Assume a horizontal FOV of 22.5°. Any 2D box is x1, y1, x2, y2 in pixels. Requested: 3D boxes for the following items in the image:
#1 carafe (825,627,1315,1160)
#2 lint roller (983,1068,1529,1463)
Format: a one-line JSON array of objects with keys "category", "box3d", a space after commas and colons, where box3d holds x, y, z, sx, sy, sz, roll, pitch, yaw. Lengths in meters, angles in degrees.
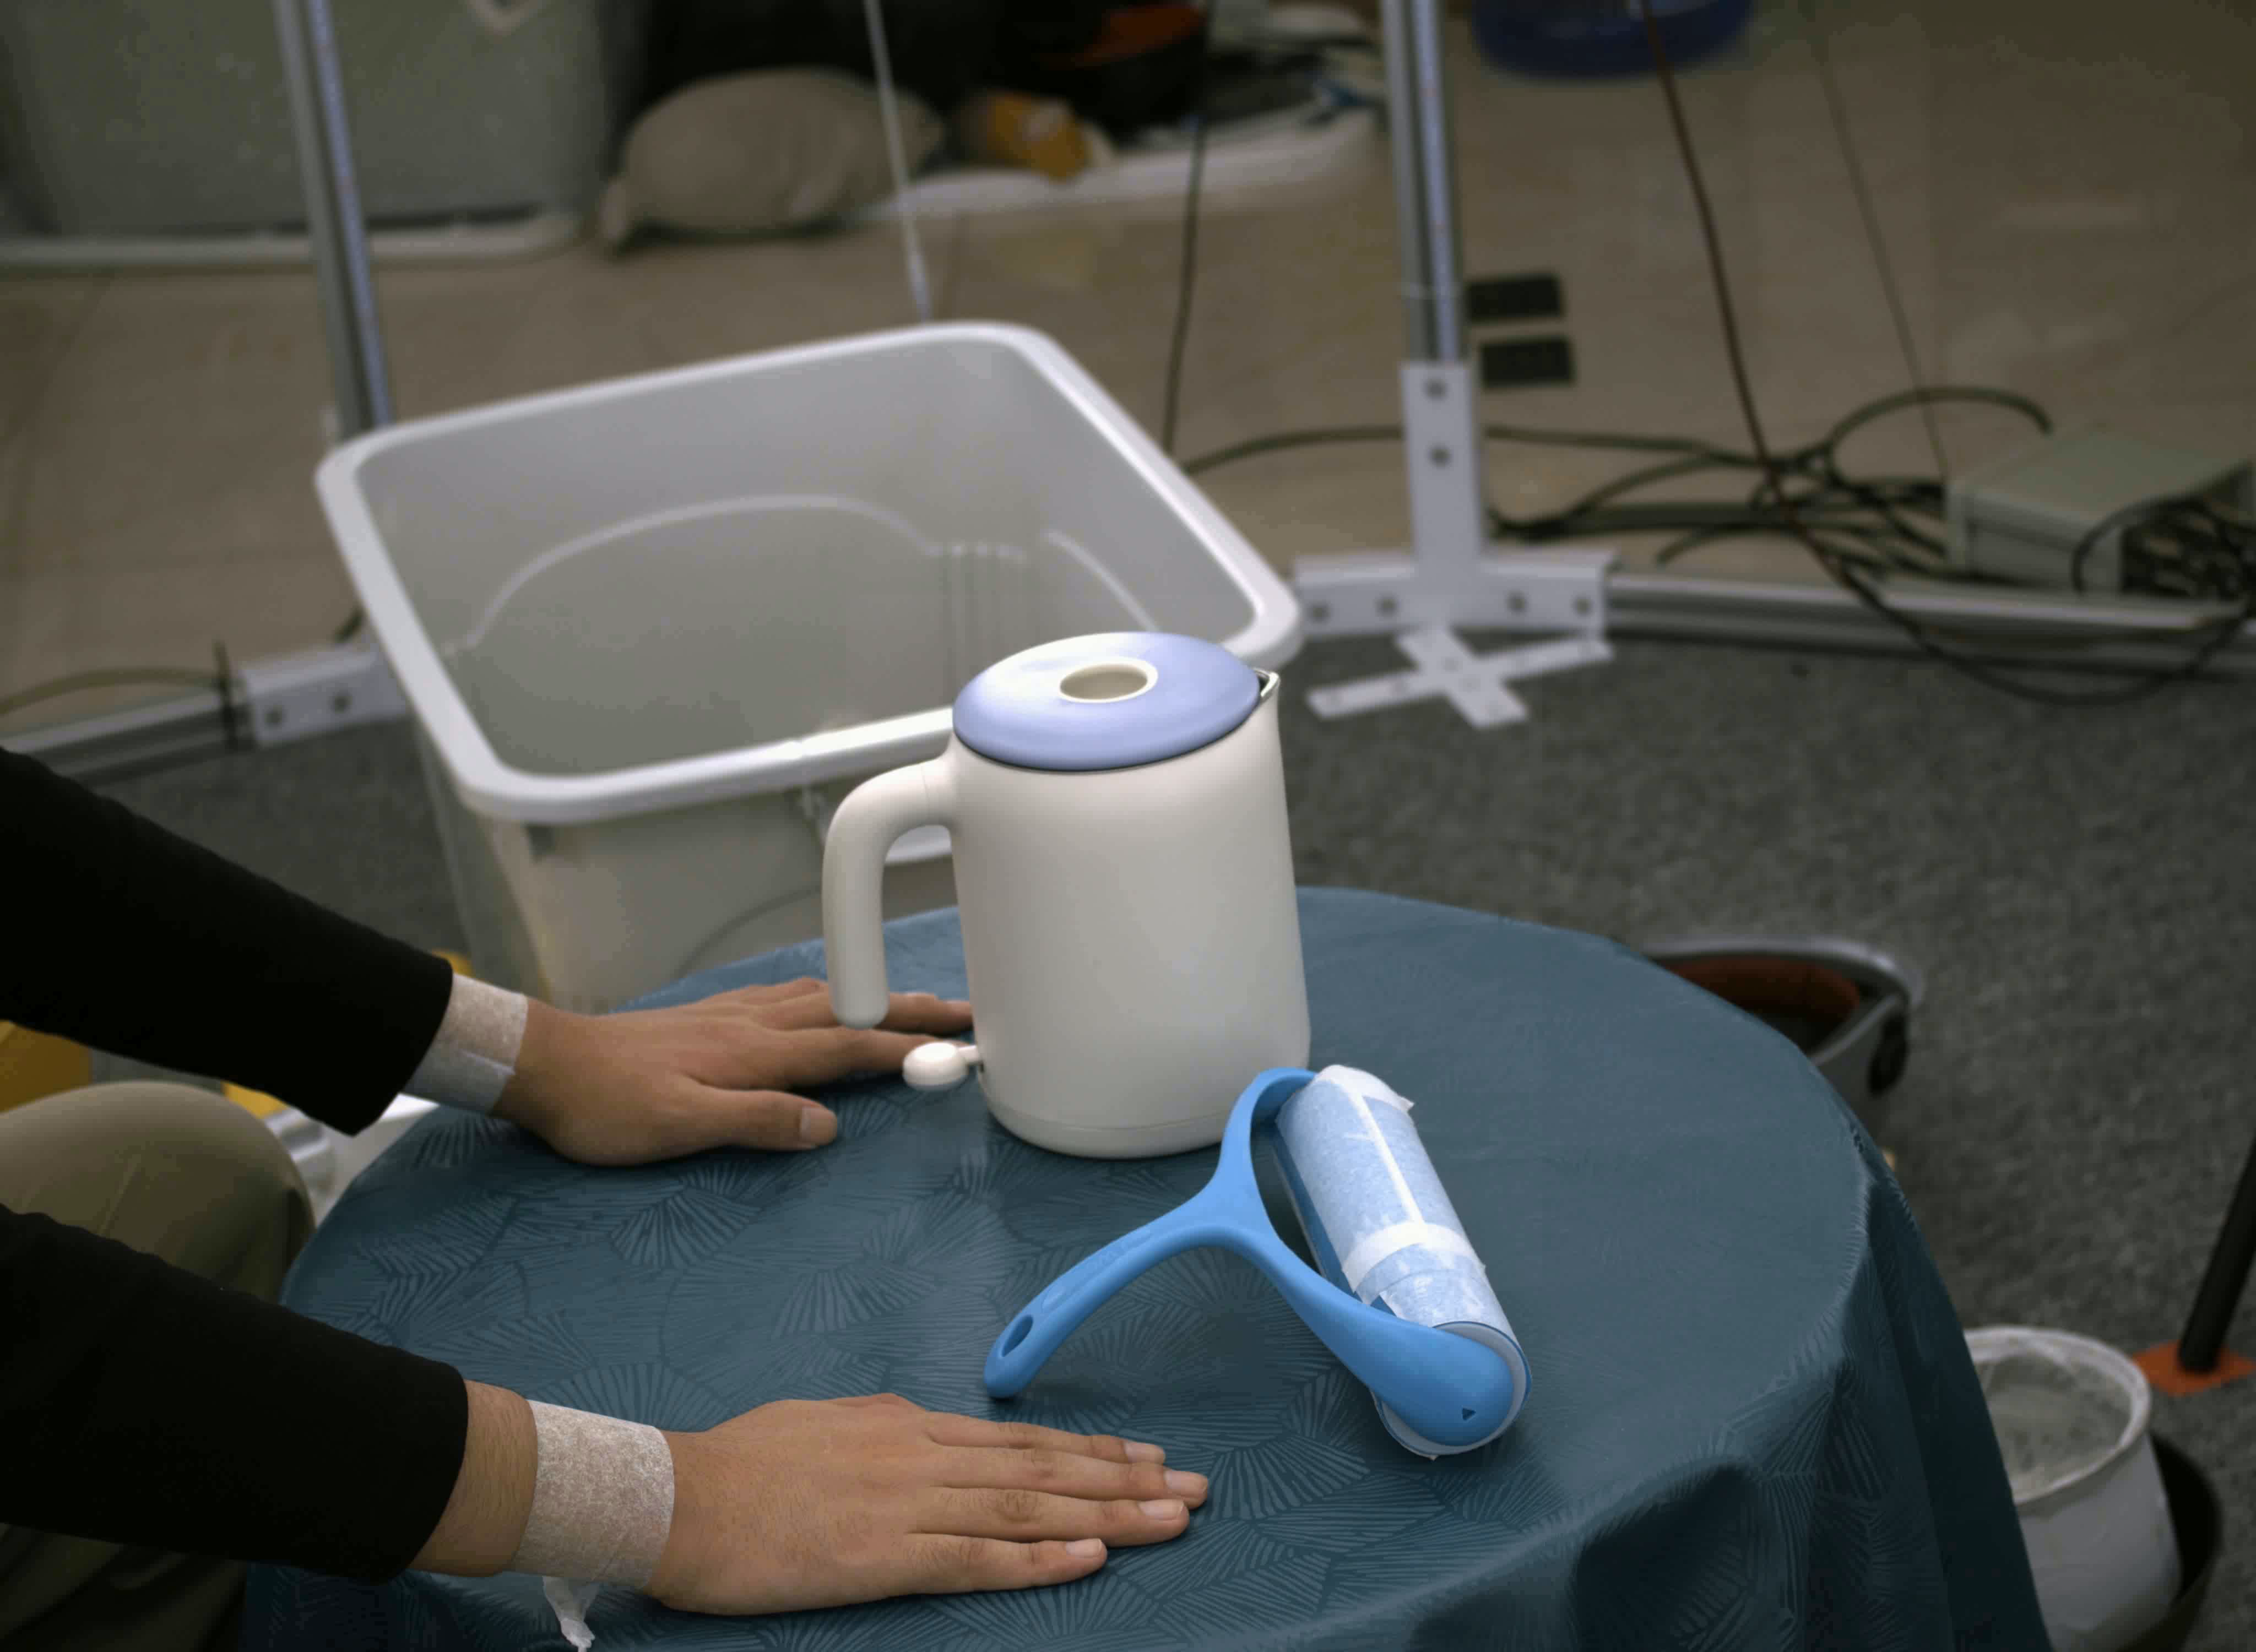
[{"category": "carafe", "box3d": [-0.024, 0.031, 2.180, 0.190, 0.185, 0.130, -13, 26, -9]}, {"category": "lint roller", "box3d": [0.037, 0.162, 2.019, 0.180, 0.069, 0.225, -7, 27, -10]}]
